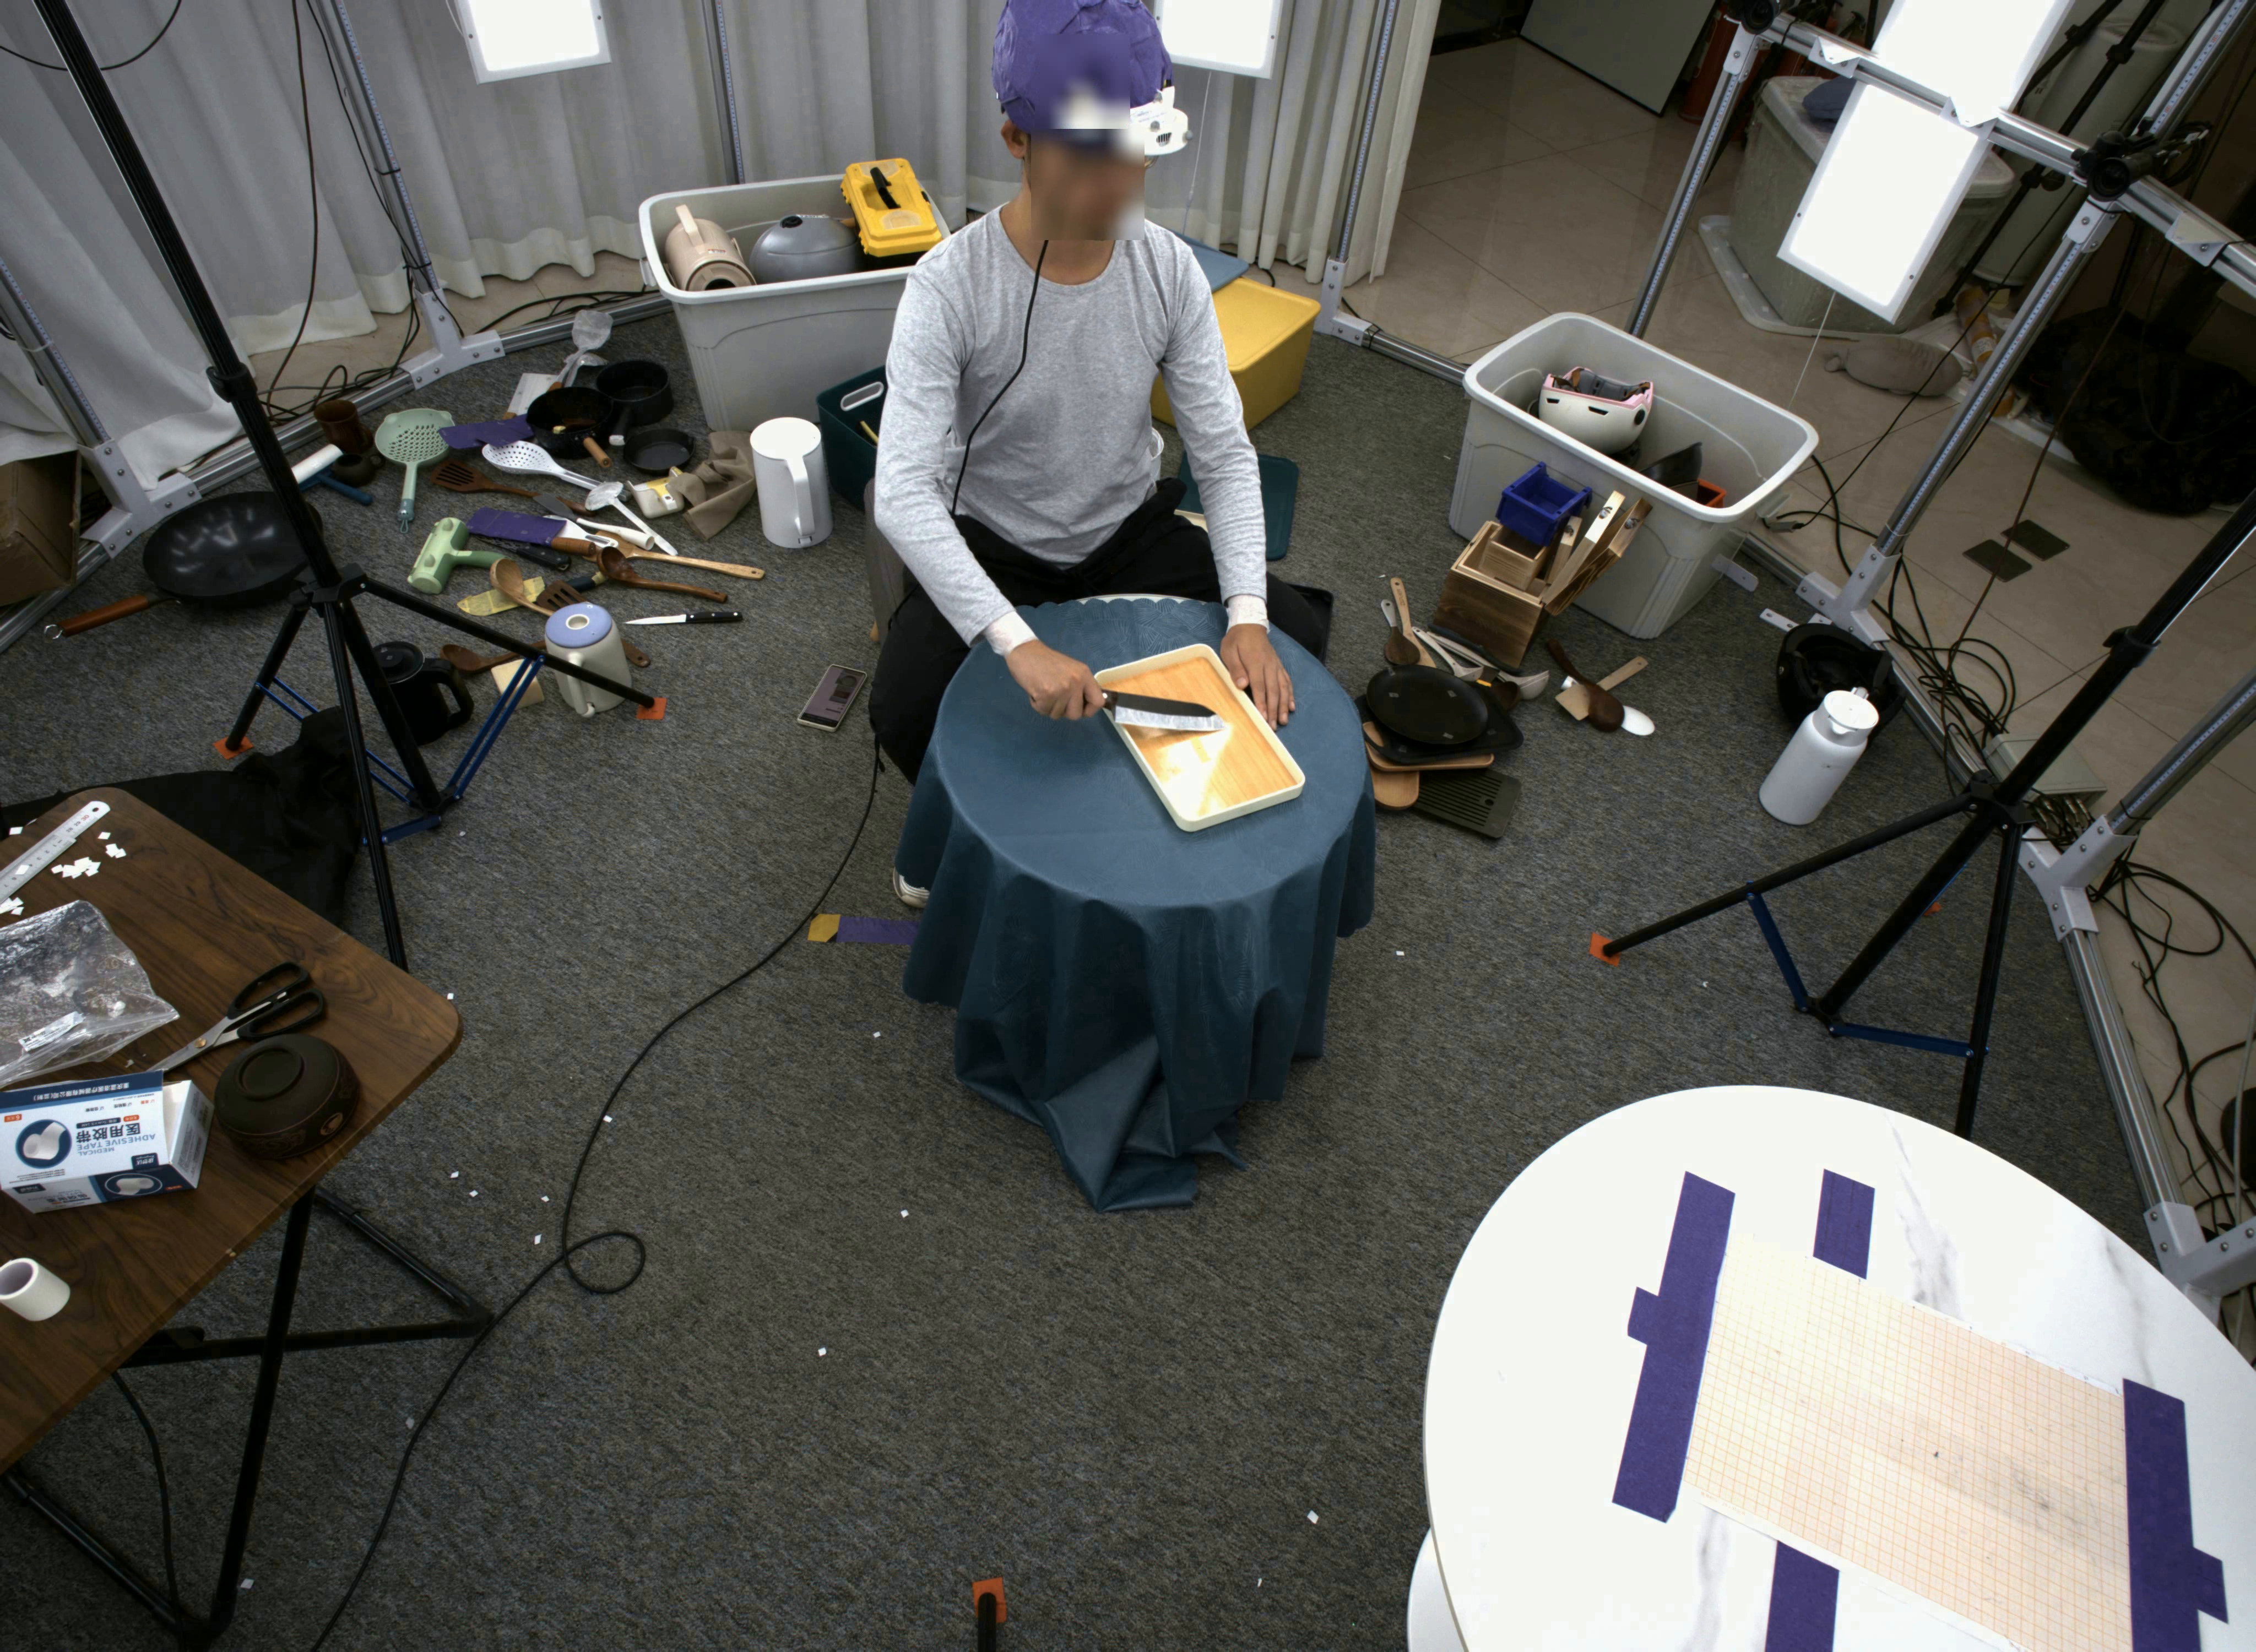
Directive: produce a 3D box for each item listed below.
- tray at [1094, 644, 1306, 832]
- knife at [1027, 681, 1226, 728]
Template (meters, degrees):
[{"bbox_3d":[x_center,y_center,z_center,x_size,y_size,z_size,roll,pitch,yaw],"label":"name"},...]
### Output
[{"bbox_3d":[0.094,-0.128,1.768,0.192,0.027,0.307,-17,52,-18],"label":"tray"},{"bbox_3d":[0.002,-0.164,1.747,0.287,0.020,0.051,8,74,-18],"label":"knife"}]
